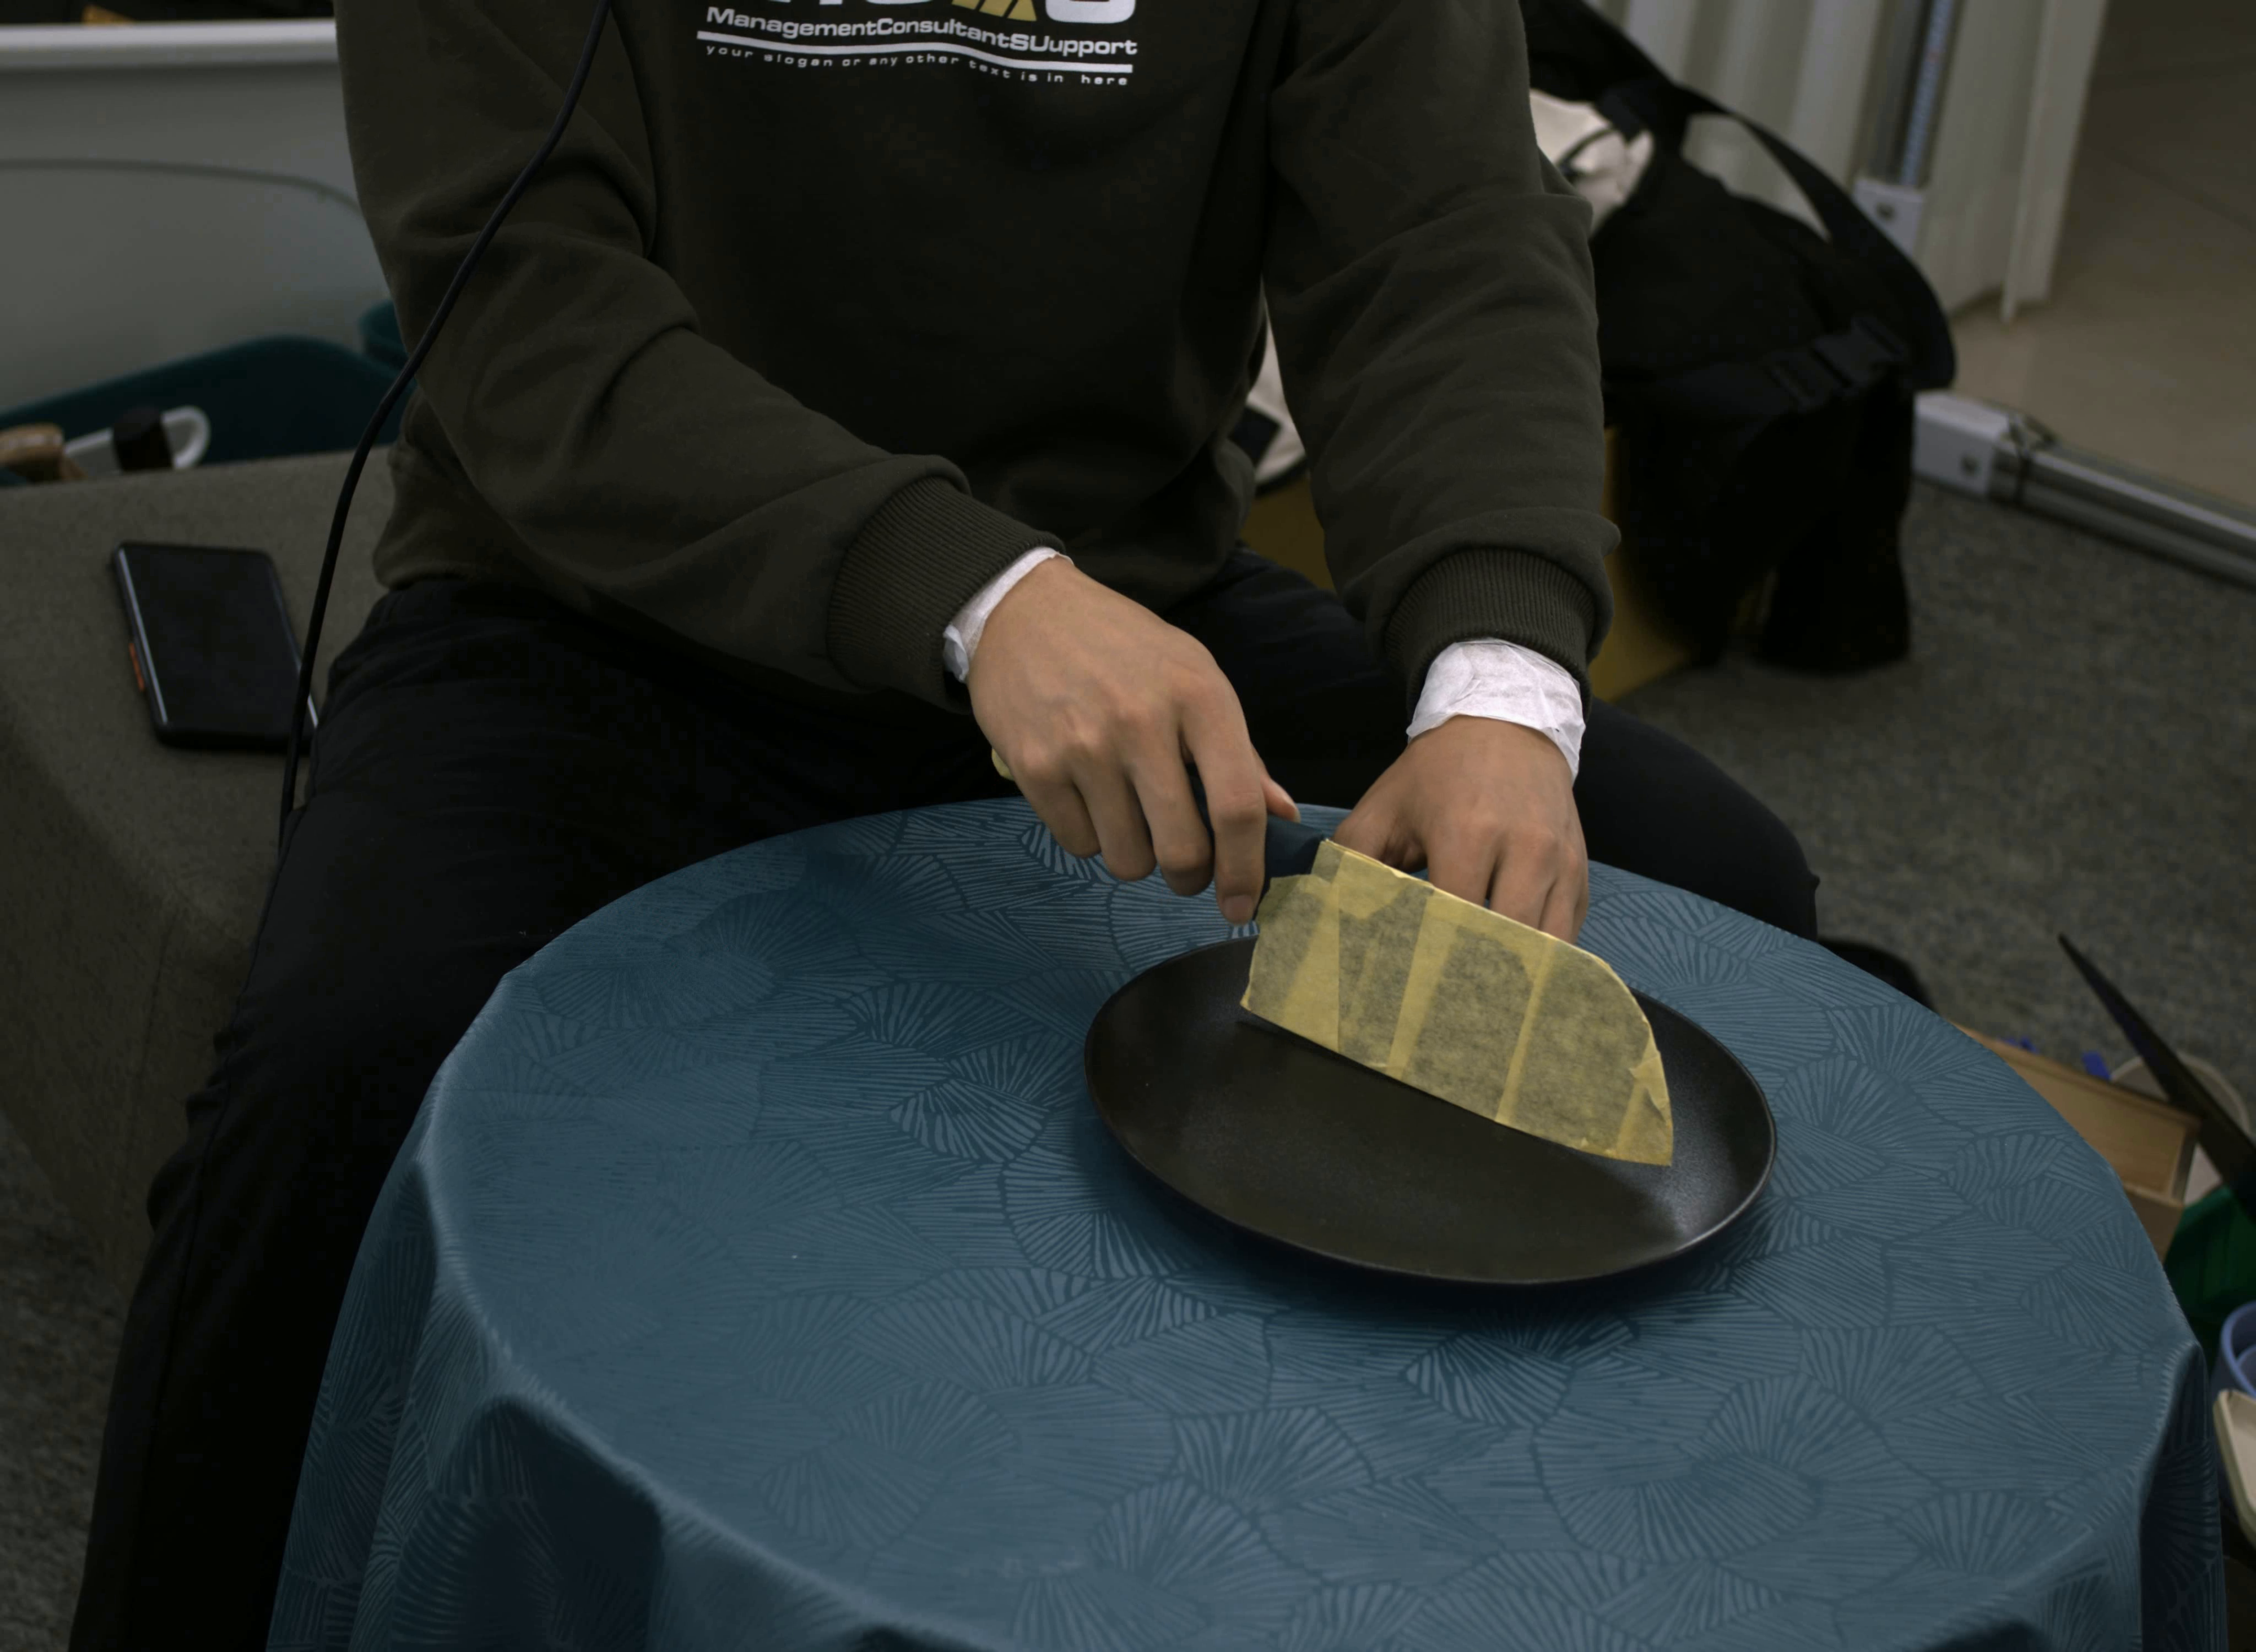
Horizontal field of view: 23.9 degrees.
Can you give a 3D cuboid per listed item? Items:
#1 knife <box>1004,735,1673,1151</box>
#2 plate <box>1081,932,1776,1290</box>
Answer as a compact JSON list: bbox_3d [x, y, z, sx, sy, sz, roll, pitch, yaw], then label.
[{"bbox_3d":[0.071,0.039,1.881,0.291,0.081,0.027,27,20,27],"label":"knife"},{"bbox_3d":[0.103,0.102,1.846,0.243,0.023,0.246,5,27,-3],"label":"plate"}]
